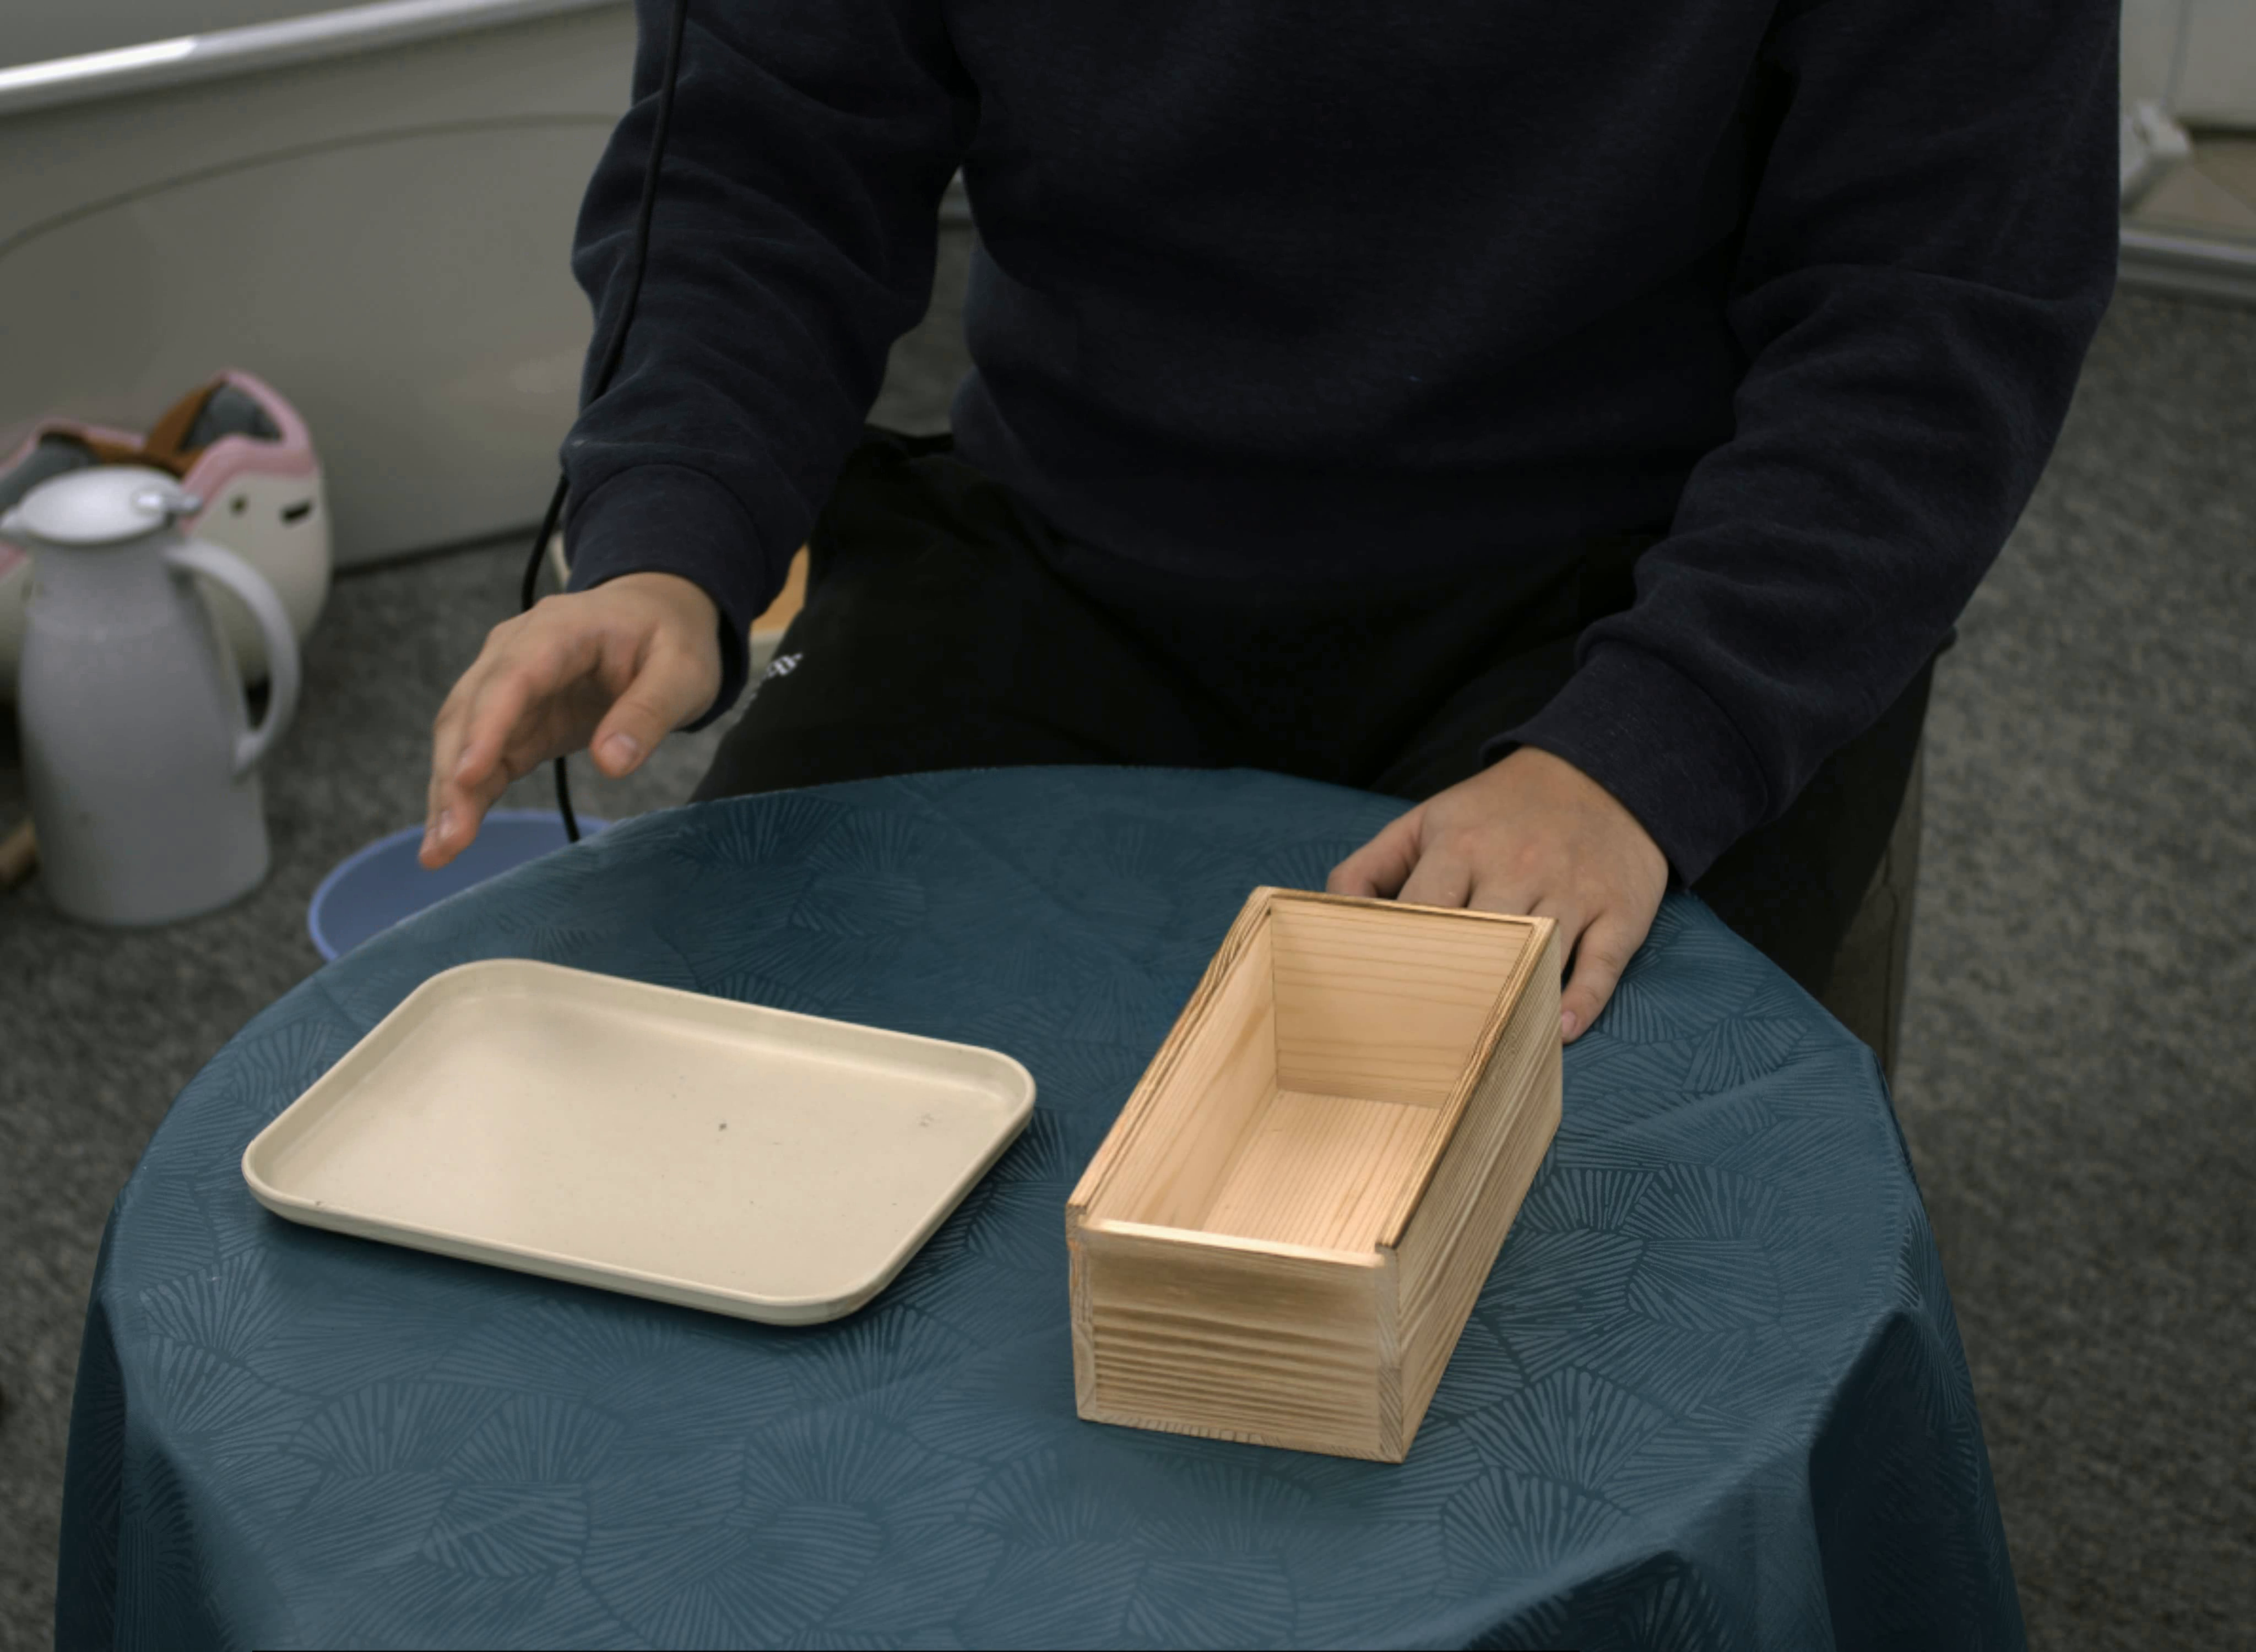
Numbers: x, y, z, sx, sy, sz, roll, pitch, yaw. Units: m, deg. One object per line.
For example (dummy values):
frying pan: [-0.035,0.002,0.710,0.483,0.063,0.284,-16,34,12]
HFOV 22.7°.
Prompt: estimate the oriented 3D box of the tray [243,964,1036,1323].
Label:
tray: [-0.163,0.107,1.889,0.238,0.017,0.174,9,29,22]

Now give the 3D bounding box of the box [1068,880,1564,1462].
box: [0.064,0.107,1.802,0.107,0.079,0.215,6,28,16]
